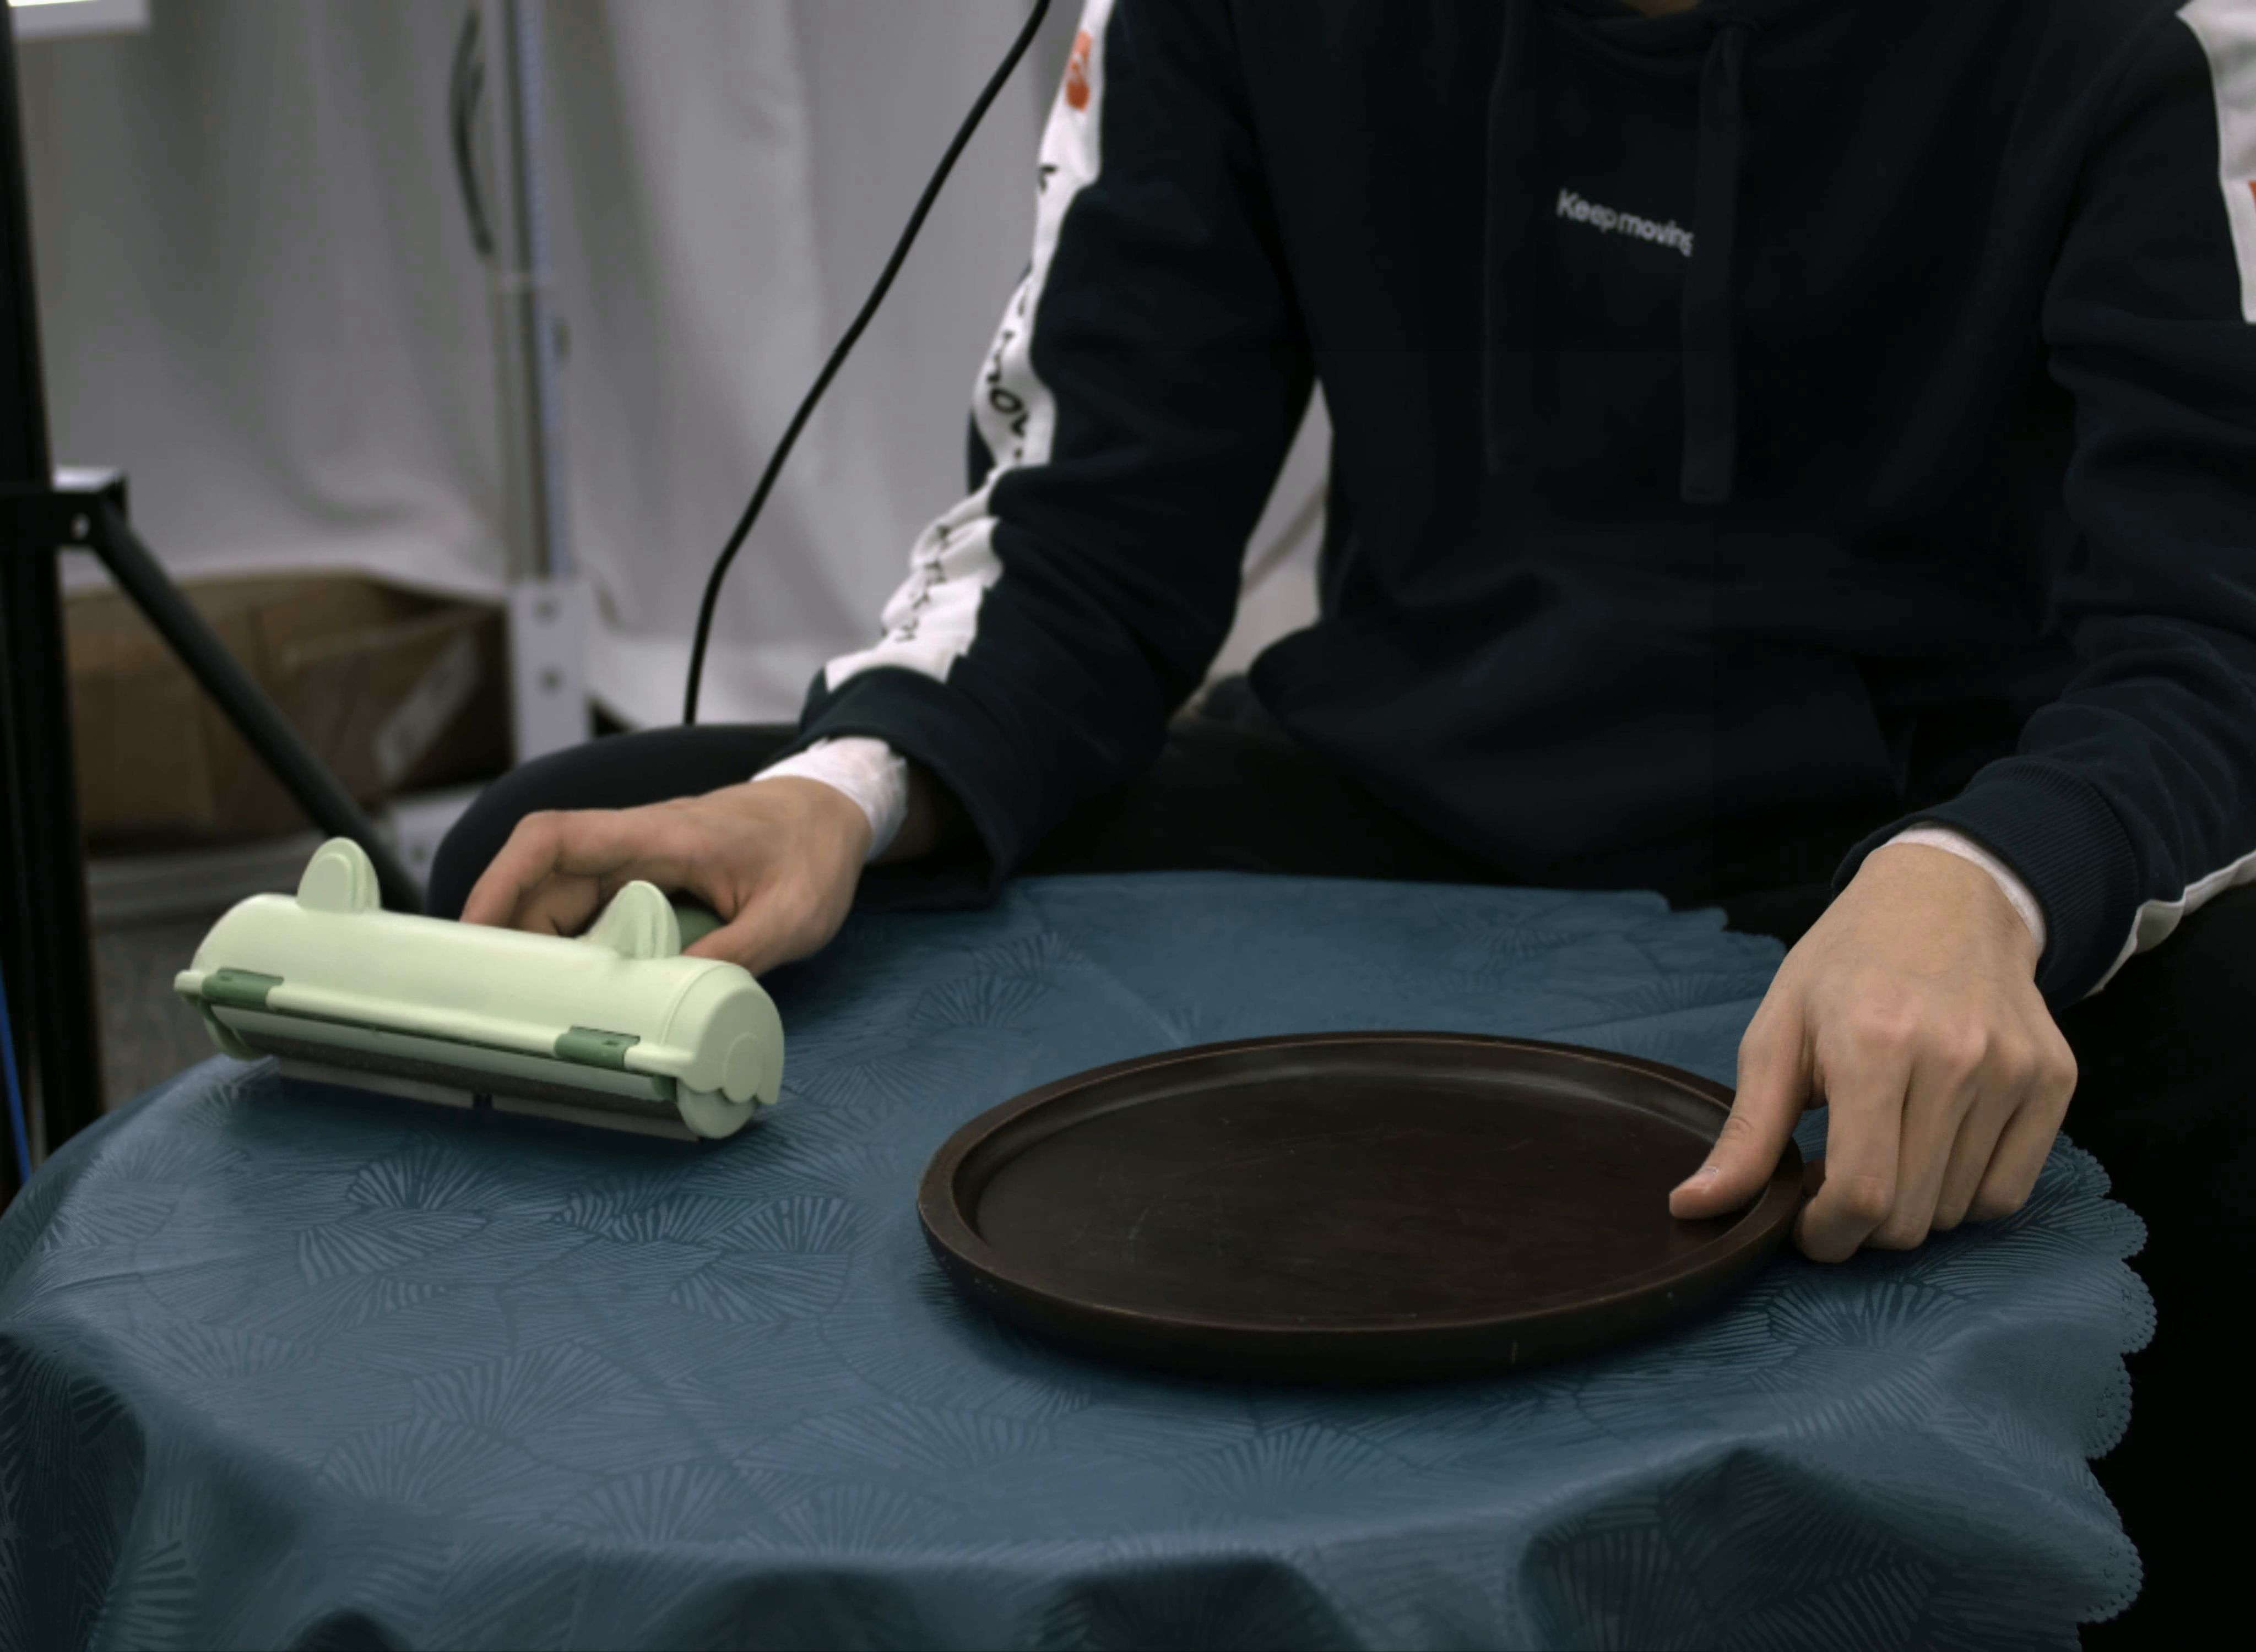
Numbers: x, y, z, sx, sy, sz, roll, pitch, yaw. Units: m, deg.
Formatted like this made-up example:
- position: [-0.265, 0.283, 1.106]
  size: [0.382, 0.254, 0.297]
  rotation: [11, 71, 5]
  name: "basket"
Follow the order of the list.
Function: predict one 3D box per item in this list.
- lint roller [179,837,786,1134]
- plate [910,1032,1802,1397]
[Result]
- position: [-0.173, 0.034, 1.699]
  size: [0.202, 0.082, 0.180]
  rotation: [7, 23, 31]
  name: "lint roller"
- position: [0.065, 0.108, 1.504]
  size: [0.253, 0.029, 0.256]
  rotation: [-4, 16, 0]
  name: "plate"
